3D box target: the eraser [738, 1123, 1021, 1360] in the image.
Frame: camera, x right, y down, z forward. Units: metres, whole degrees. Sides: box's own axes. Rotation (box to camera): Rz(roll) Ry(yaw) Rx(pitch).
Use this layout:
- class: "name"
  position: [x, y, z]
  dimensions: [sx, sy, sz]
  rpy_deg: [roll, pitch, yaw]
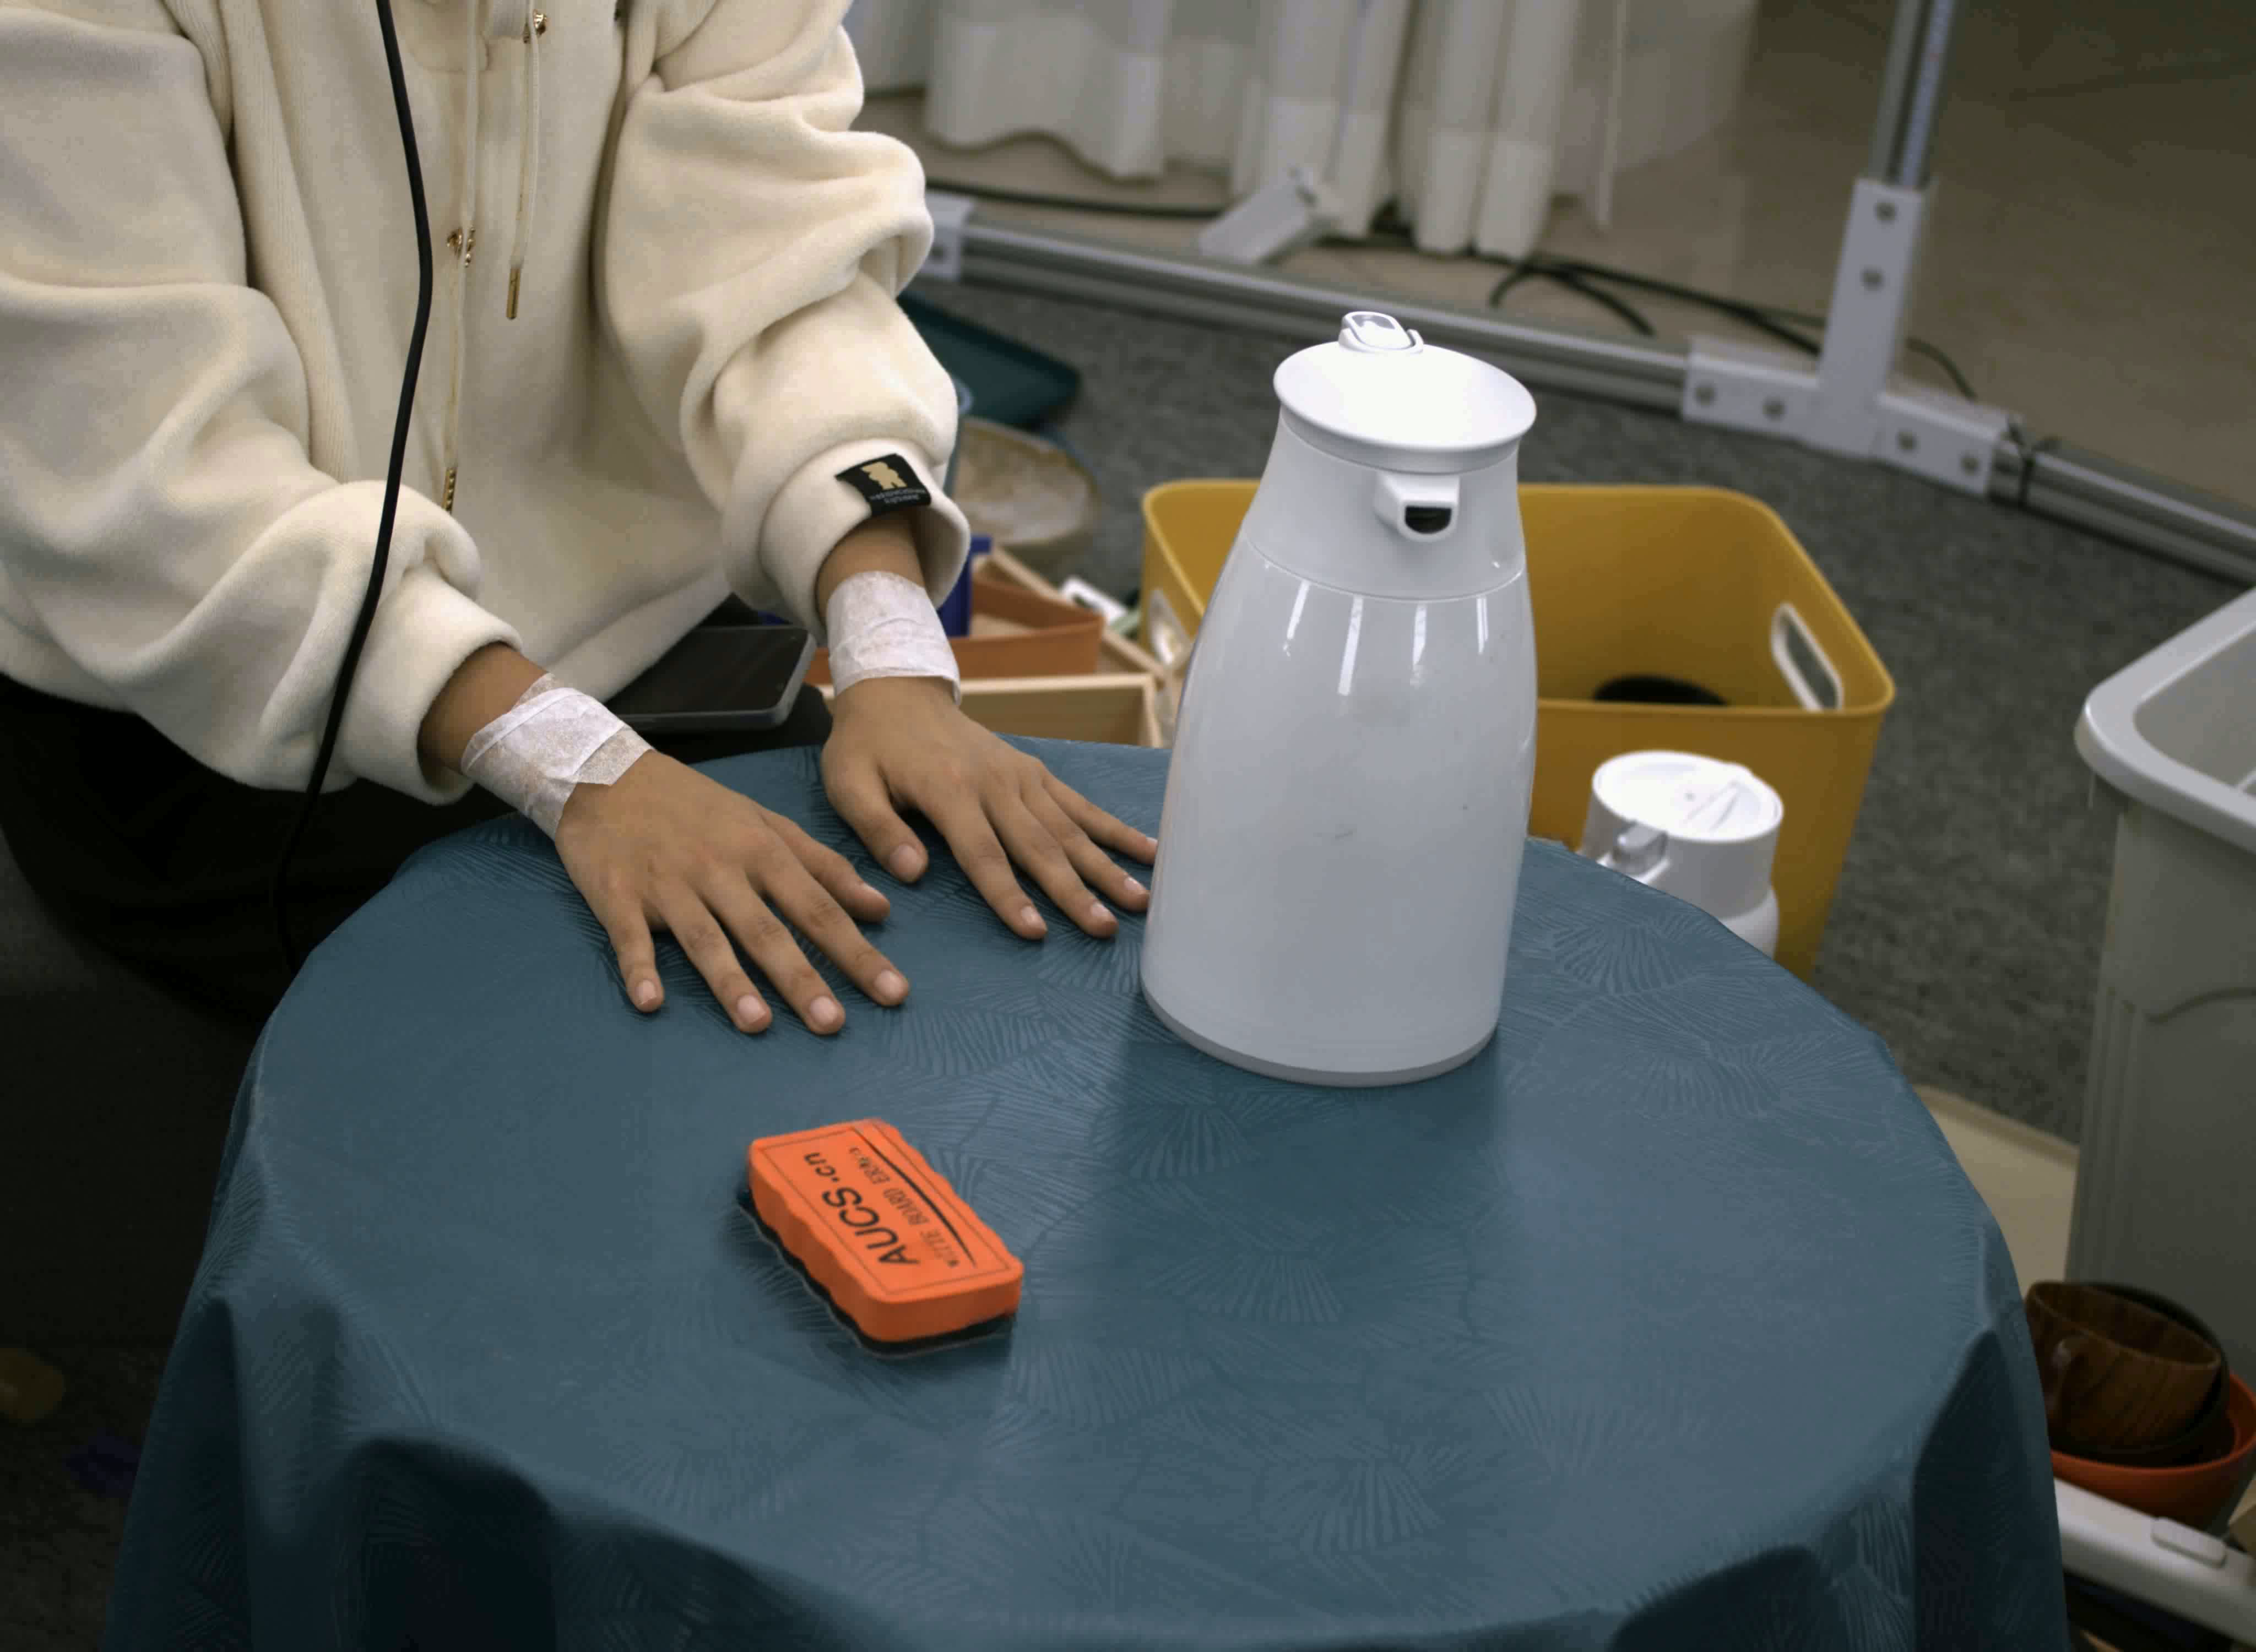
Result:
- class: "eraser"
  position: [-0.082, 0.135, 1.737]
  dimensions: [0.058, 0.023, 0.109]
  rpy_deg: [-6, 30, -29]

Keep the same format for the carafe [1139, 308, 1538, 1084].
- class: "carafe"
  position: [0.079, -0.056, 1.899]
  dimensions: [0.132, 0.248, 0.169]
  rpy_deg: [2, 26, -10]
